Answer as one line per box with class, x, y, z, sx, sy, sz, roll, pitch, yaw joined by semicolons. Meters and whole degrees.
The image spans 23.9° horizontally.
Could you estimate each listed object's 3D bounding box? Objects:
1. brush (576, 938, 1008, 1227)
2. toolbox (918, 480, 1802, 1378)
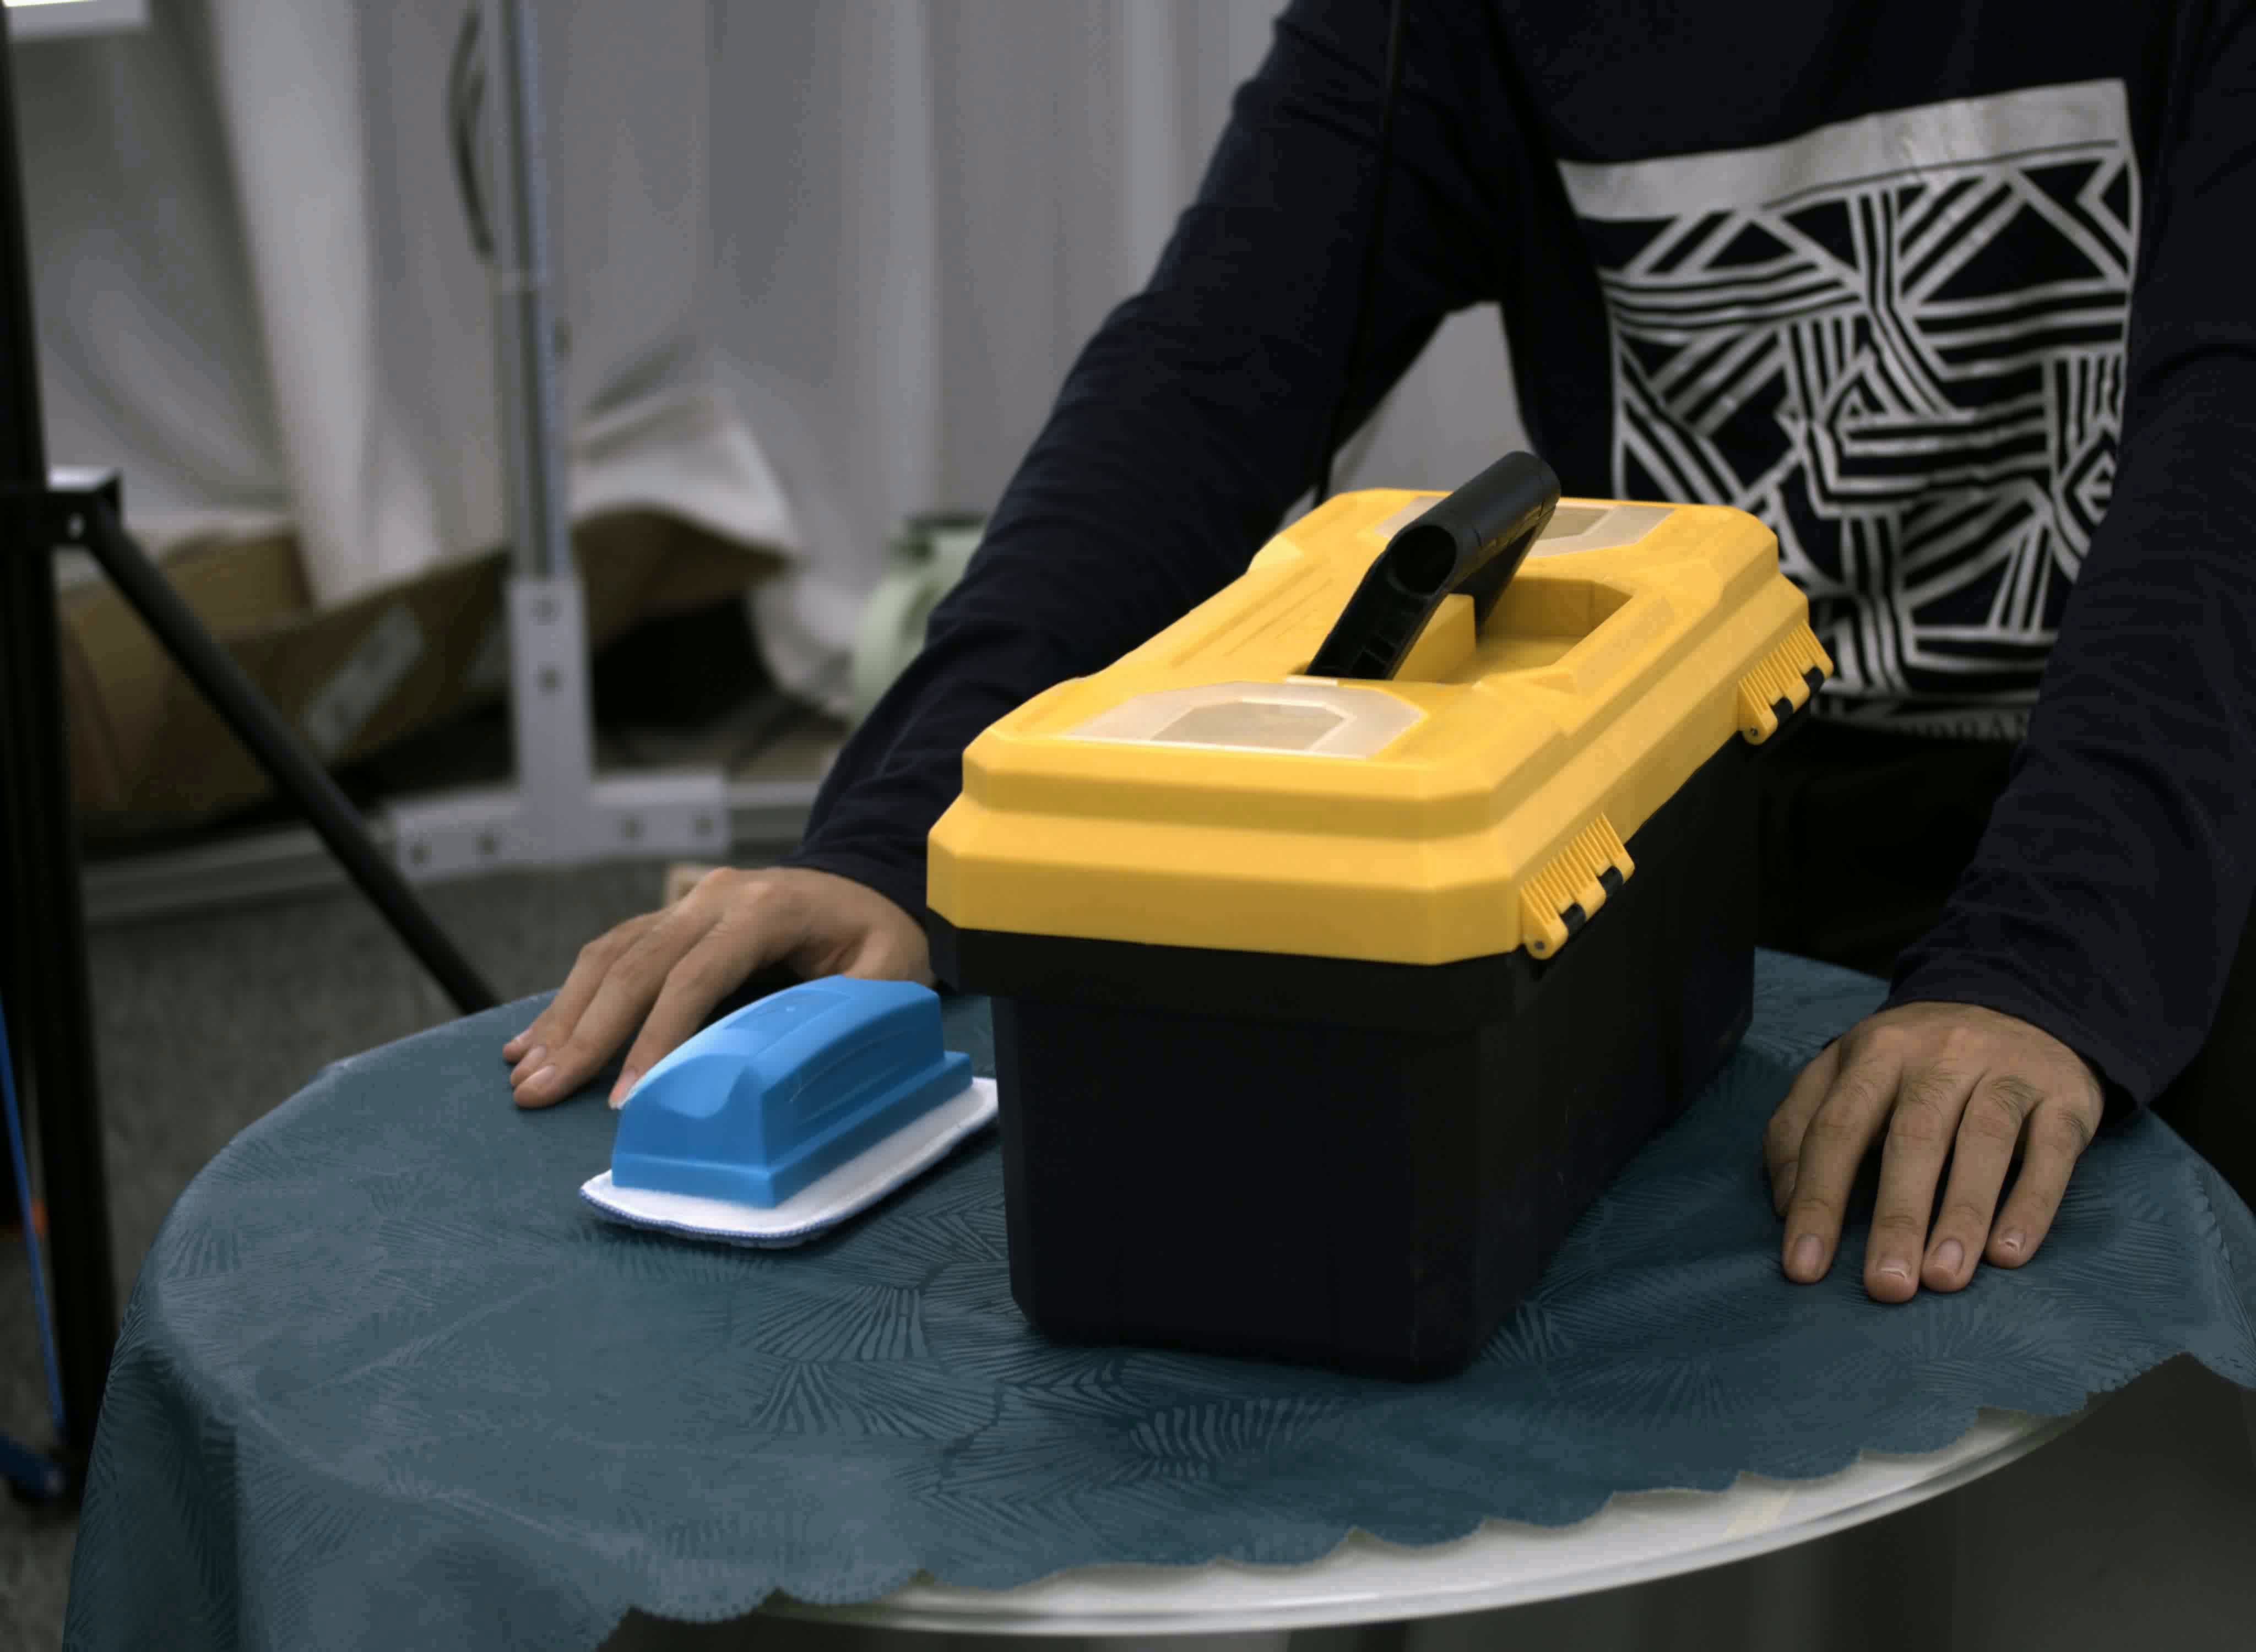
brush;-0.097;0.072;1.590;0.085;0.056;0.141;11;22;29
toolbox;0.077;0.020;1.539;0.183;0.173;0.347;4;17;21
